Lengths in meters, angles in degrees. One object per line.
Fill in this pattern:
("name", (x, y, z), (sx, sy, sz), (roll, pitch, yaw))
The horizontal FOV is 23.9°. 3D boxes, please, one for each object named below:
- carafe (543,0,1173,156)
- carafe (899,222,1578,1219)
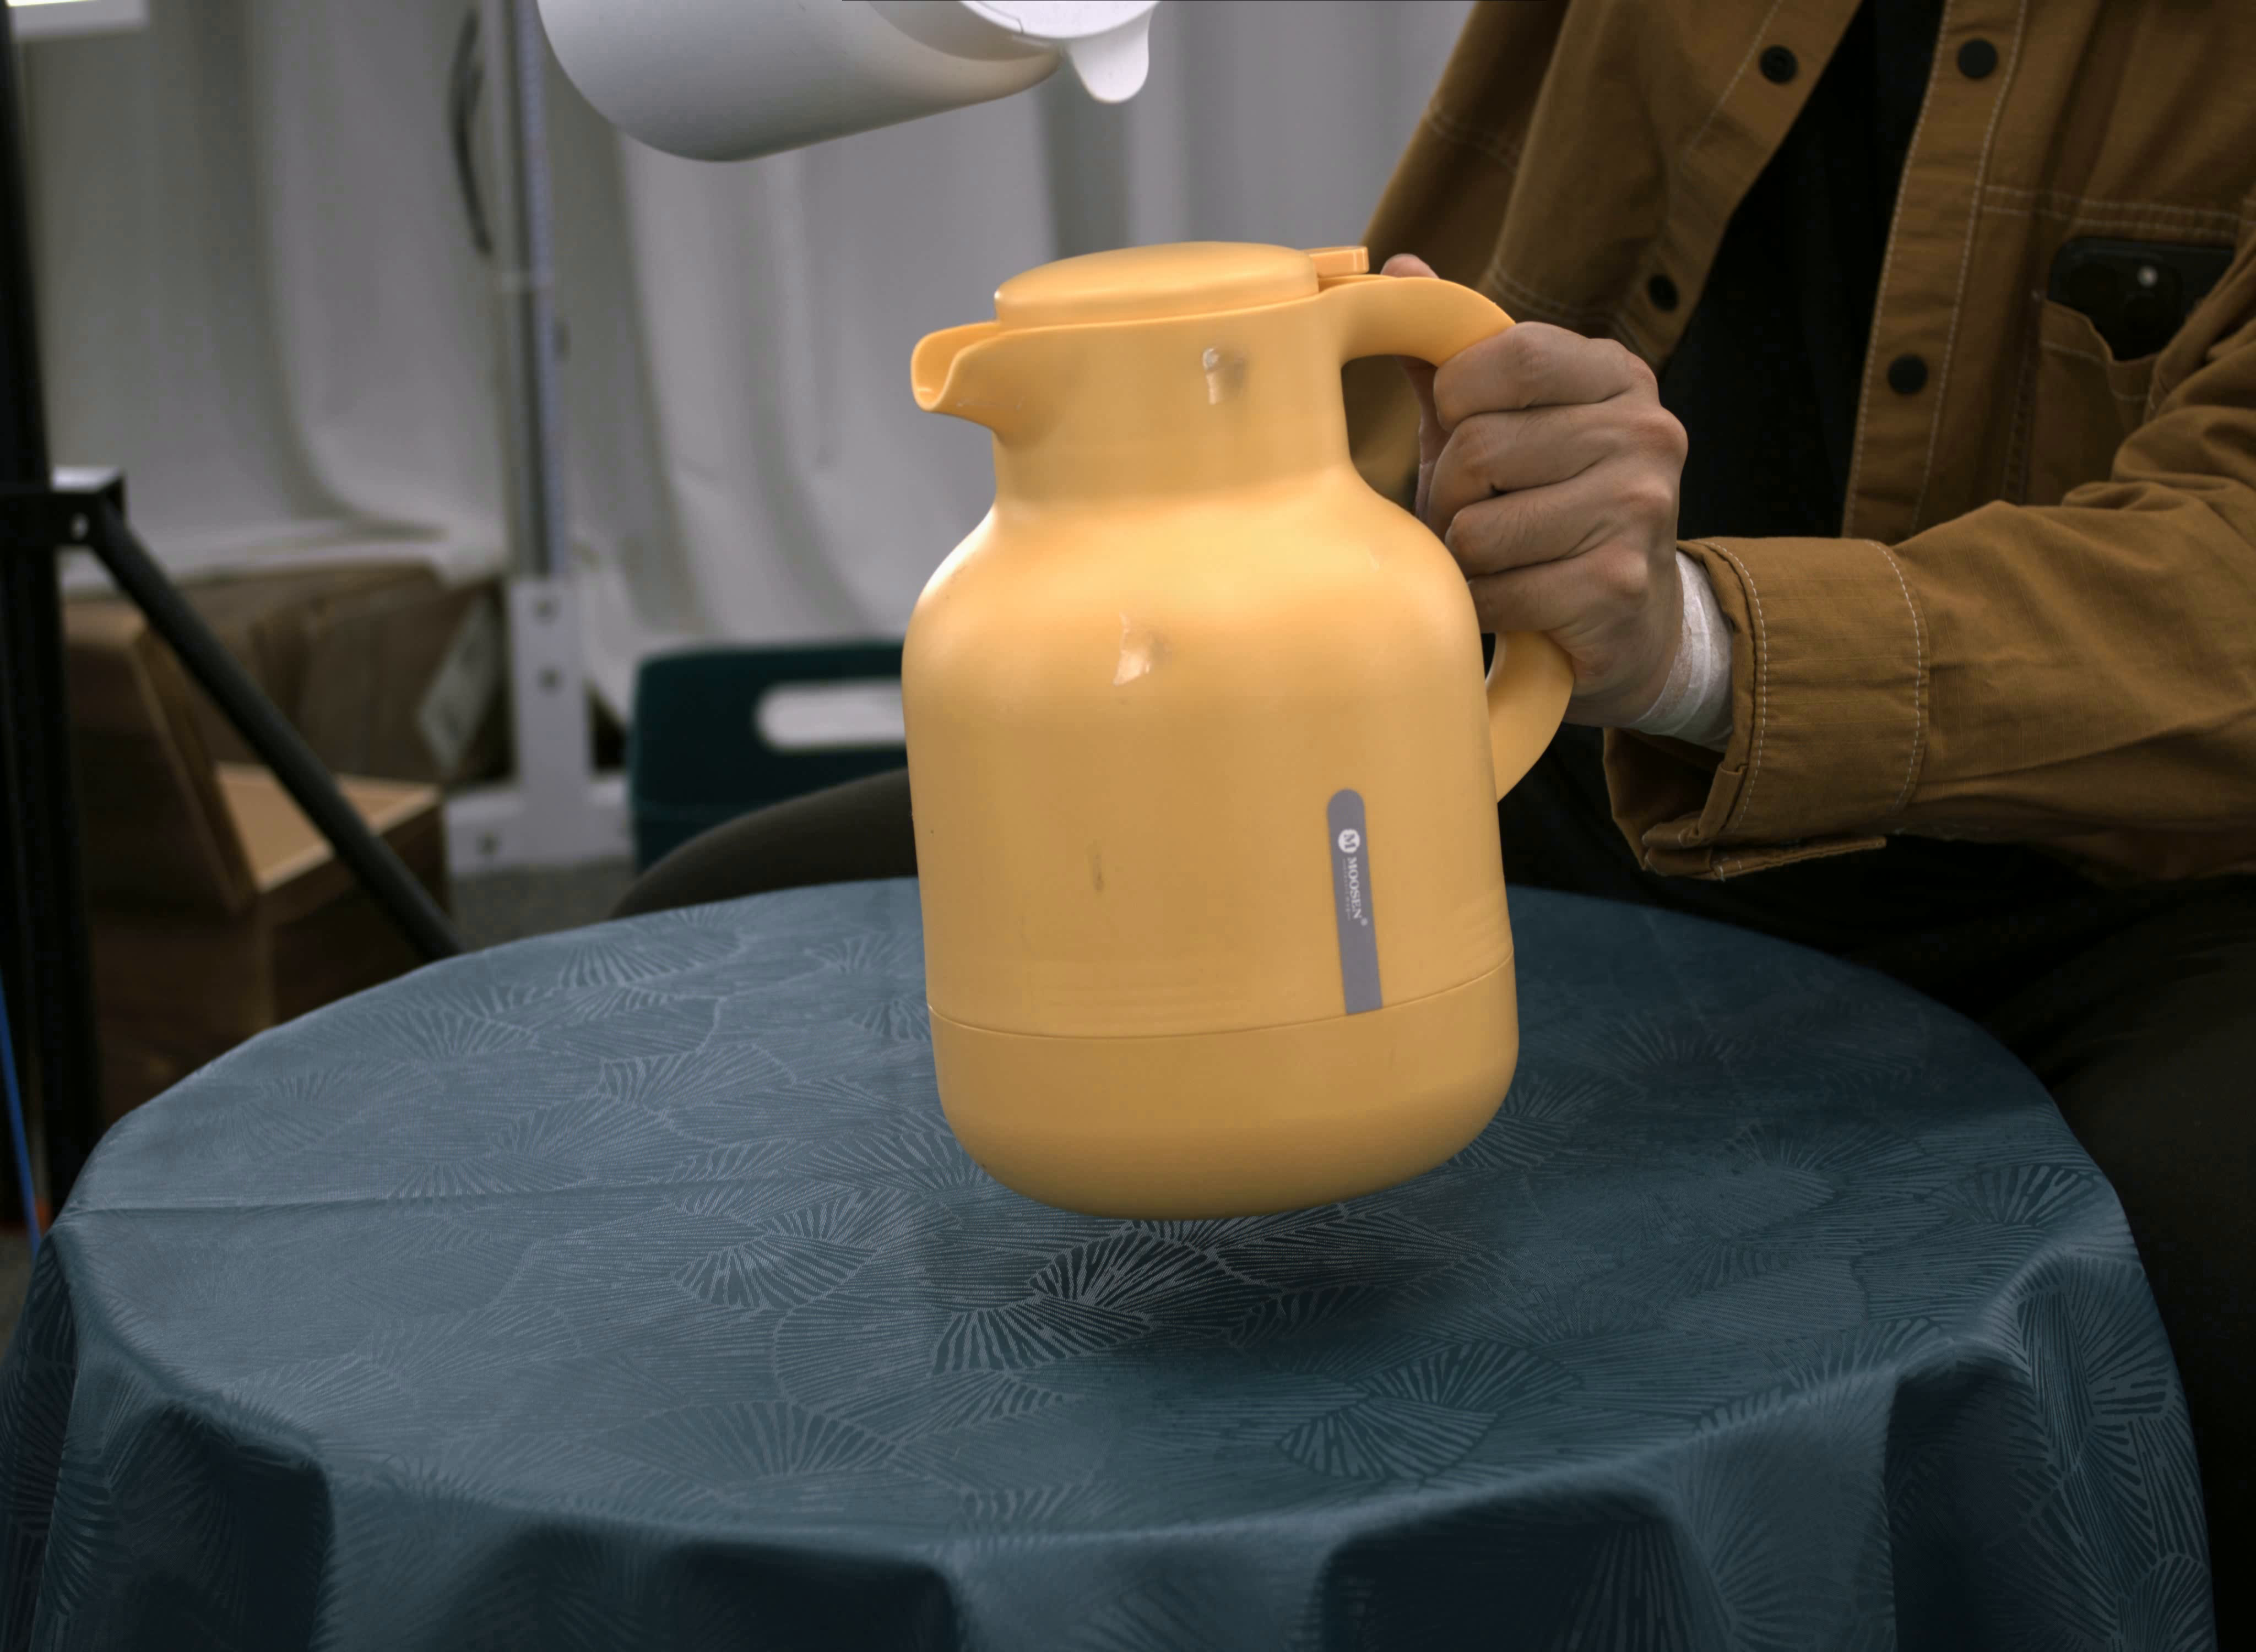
("carafe", (-0.080, -0.278, 1.534), (0.122, 0.172, 0.273), (-25, 11, -20))
("carafe", (0.037, -0.035, 1.463), (0.198, 0.260, 0.166), (-11, 13, -24))
